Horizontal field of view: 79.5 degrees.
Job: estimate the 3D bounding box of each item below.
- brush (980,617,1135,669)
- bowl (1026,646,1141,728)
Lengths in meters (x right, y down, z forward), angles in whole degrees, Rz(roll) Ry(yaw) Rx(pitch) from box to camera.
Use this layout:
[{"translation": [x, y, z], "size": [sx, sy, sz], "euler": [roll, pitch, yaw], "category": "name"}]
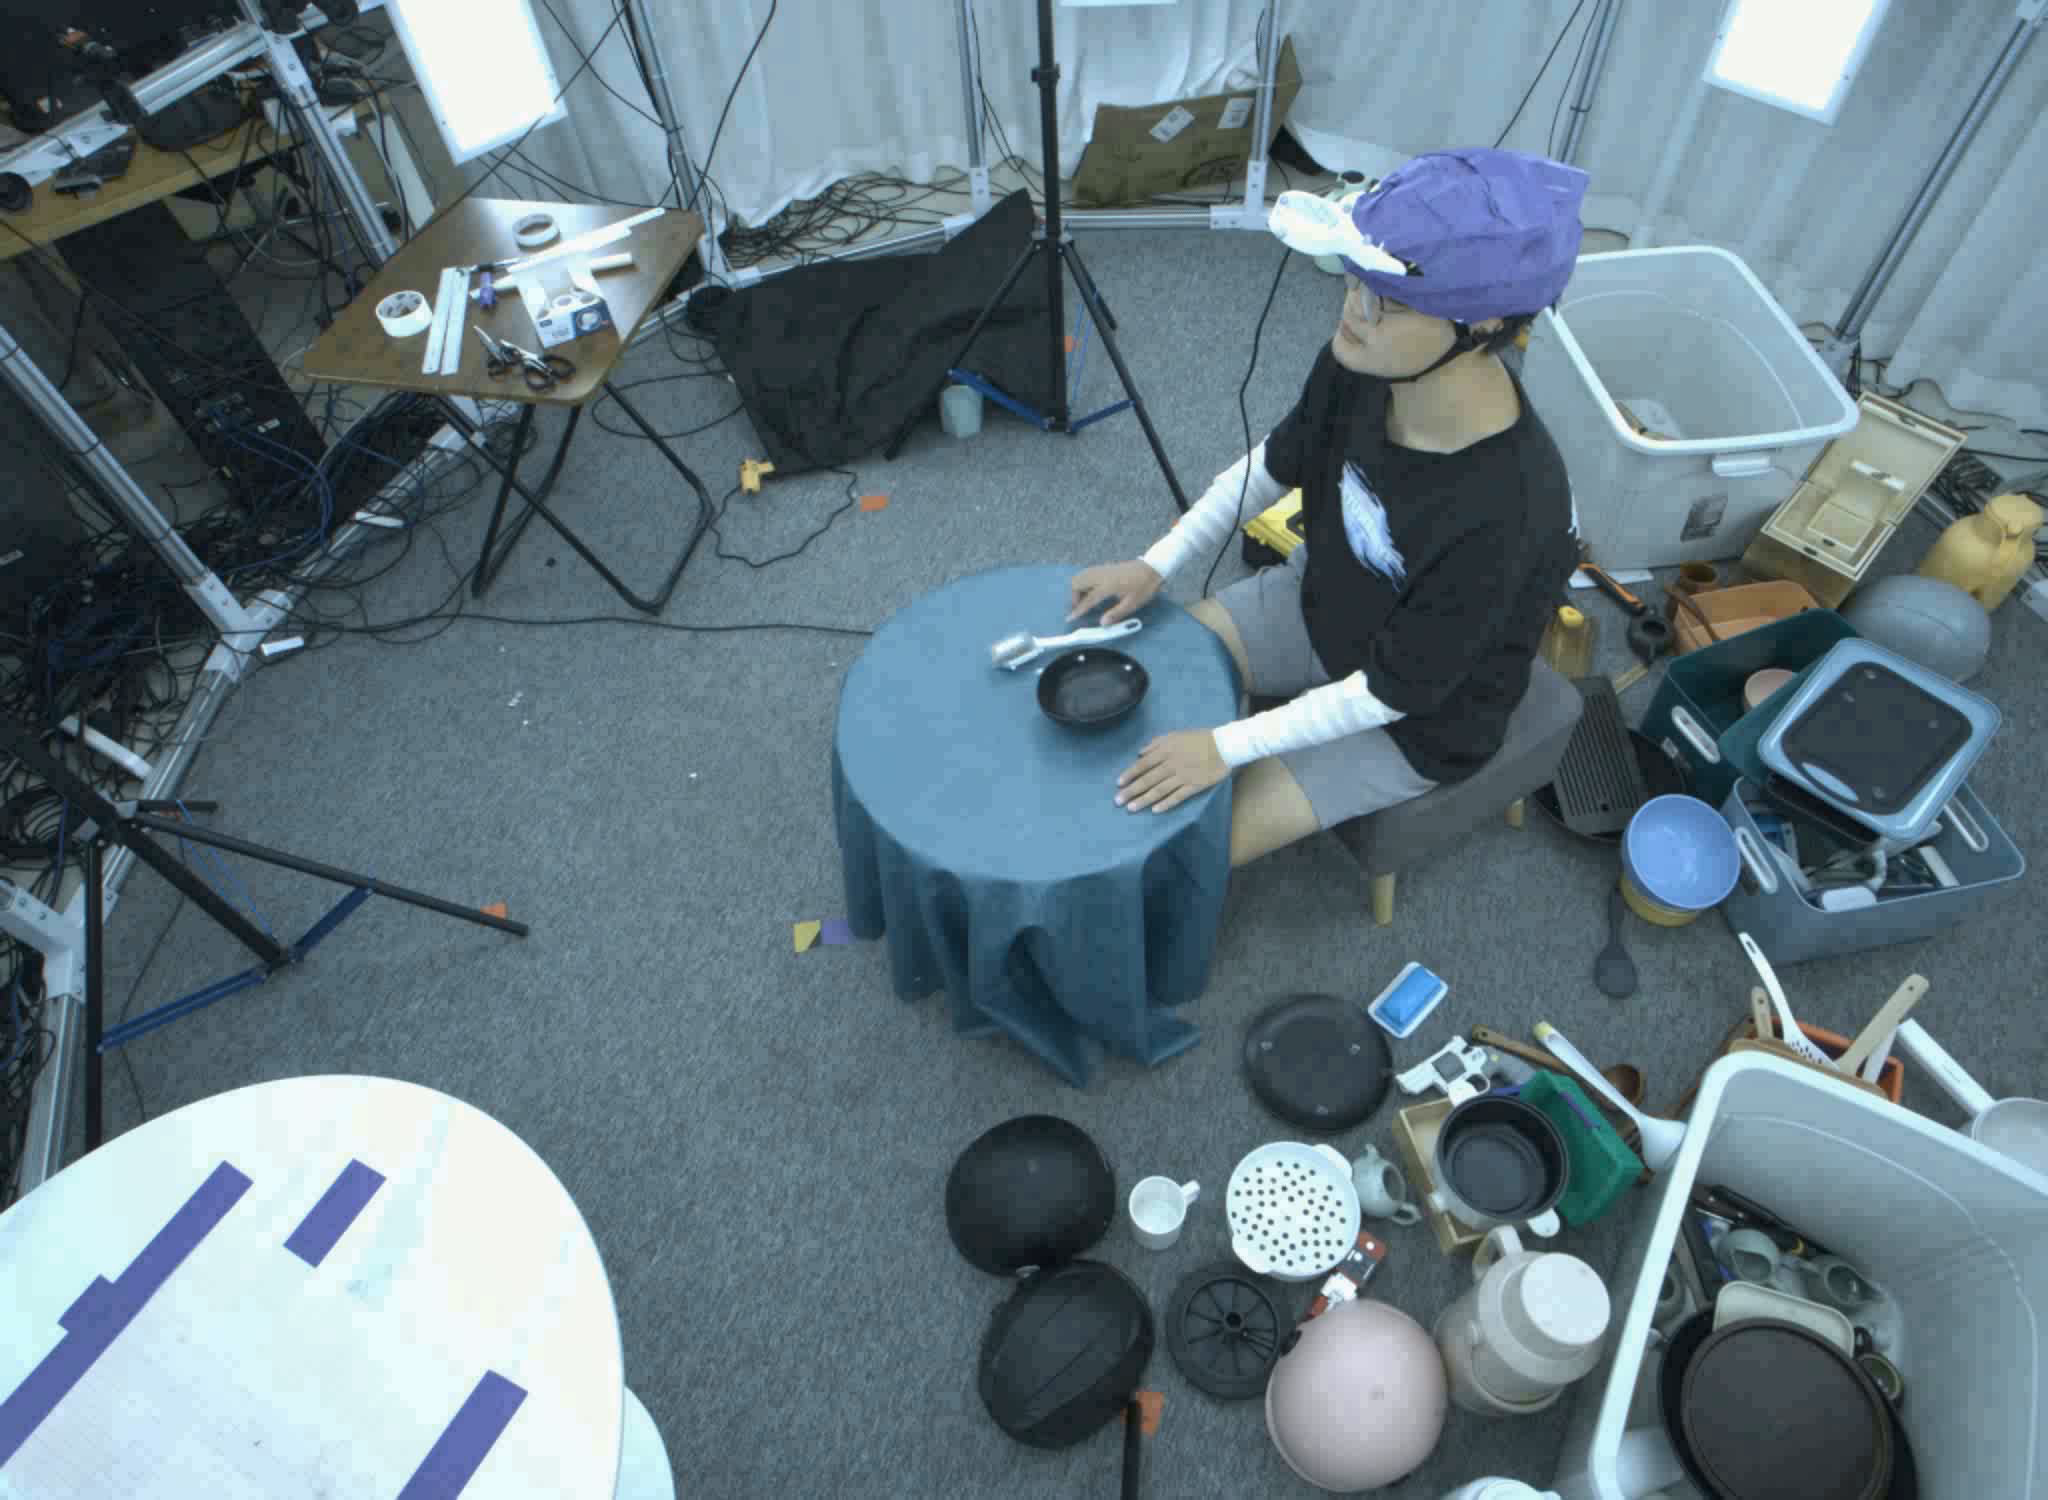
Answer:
[{"translation": [0.053, -0.177, 1.872], "size": [0.245, 0.051, 0.034], "euler": [-16, 56, -8], "category": "brush"}, {"translation": [0.086, -0.082, 1.795], "size": [0.171, 0.067, 0.135], "euler": [-18, 55, -13], "category": "bowl"}]
